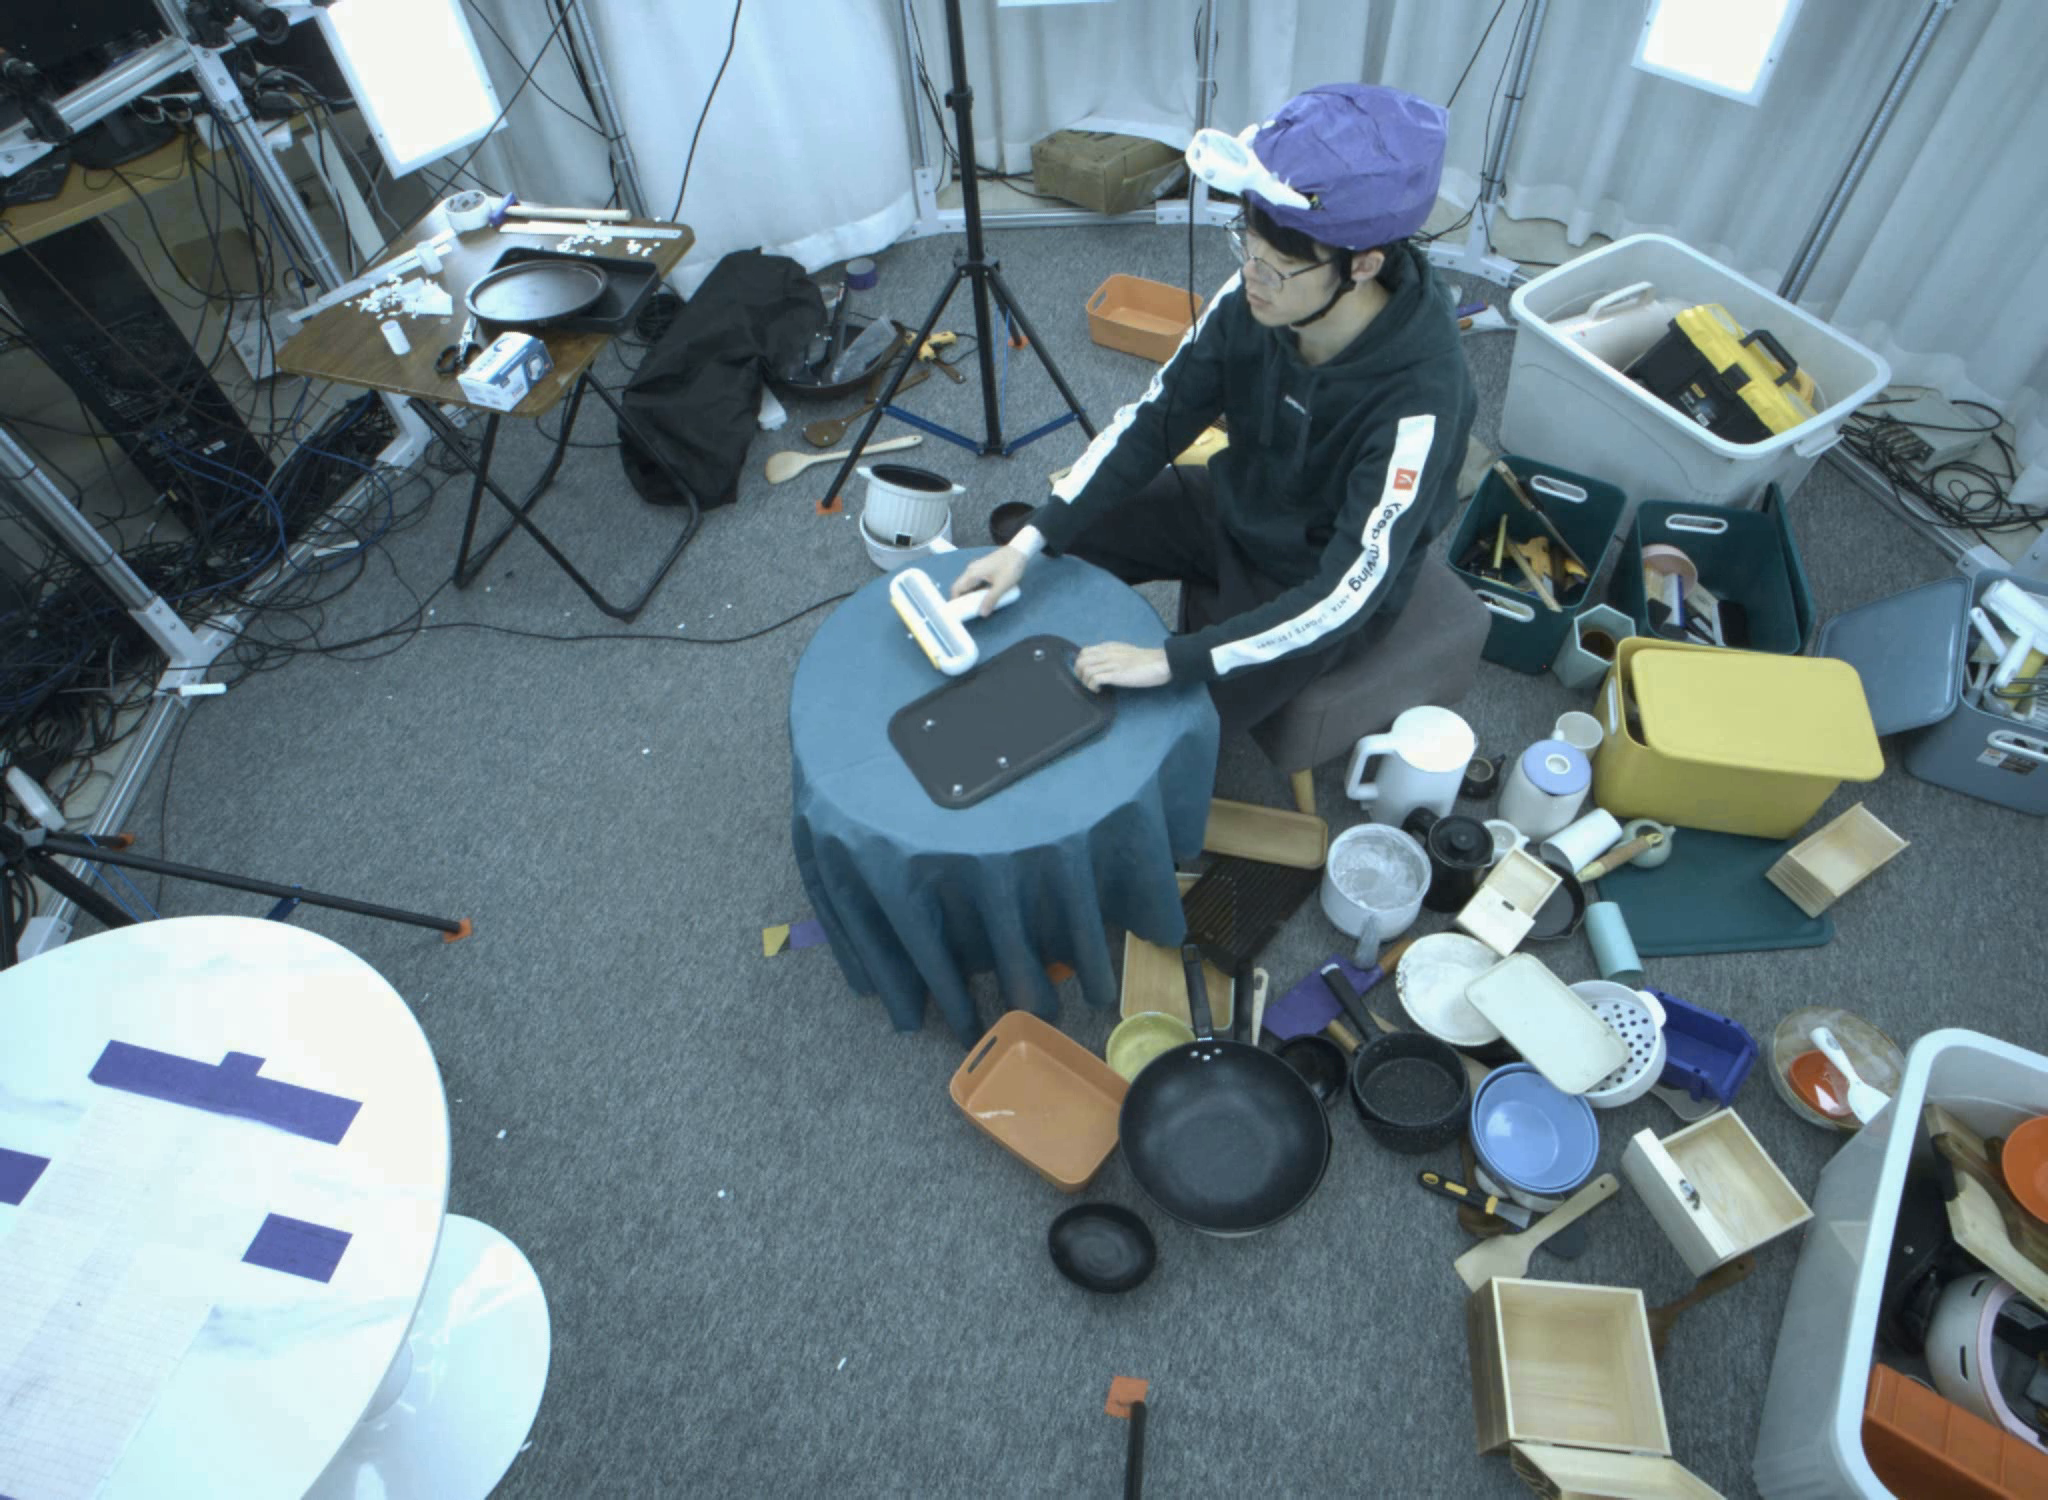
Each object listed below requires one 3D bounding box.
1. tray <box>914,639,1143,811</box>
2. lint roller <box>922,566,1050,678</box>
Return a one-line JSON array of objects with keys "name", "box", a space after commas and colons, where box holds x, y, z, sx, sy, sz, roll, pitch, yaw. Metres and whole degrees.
[{"name": "tray", "box": [0.011, -0.048, 1.802, 0.327, 0.010, 0.207, -28, 59, -13]}, {"name": "lint roller", "box": [-0.044, -0.208, 1.909, 0.195, 0.074, 0.190, -17, 64, -23]}]
